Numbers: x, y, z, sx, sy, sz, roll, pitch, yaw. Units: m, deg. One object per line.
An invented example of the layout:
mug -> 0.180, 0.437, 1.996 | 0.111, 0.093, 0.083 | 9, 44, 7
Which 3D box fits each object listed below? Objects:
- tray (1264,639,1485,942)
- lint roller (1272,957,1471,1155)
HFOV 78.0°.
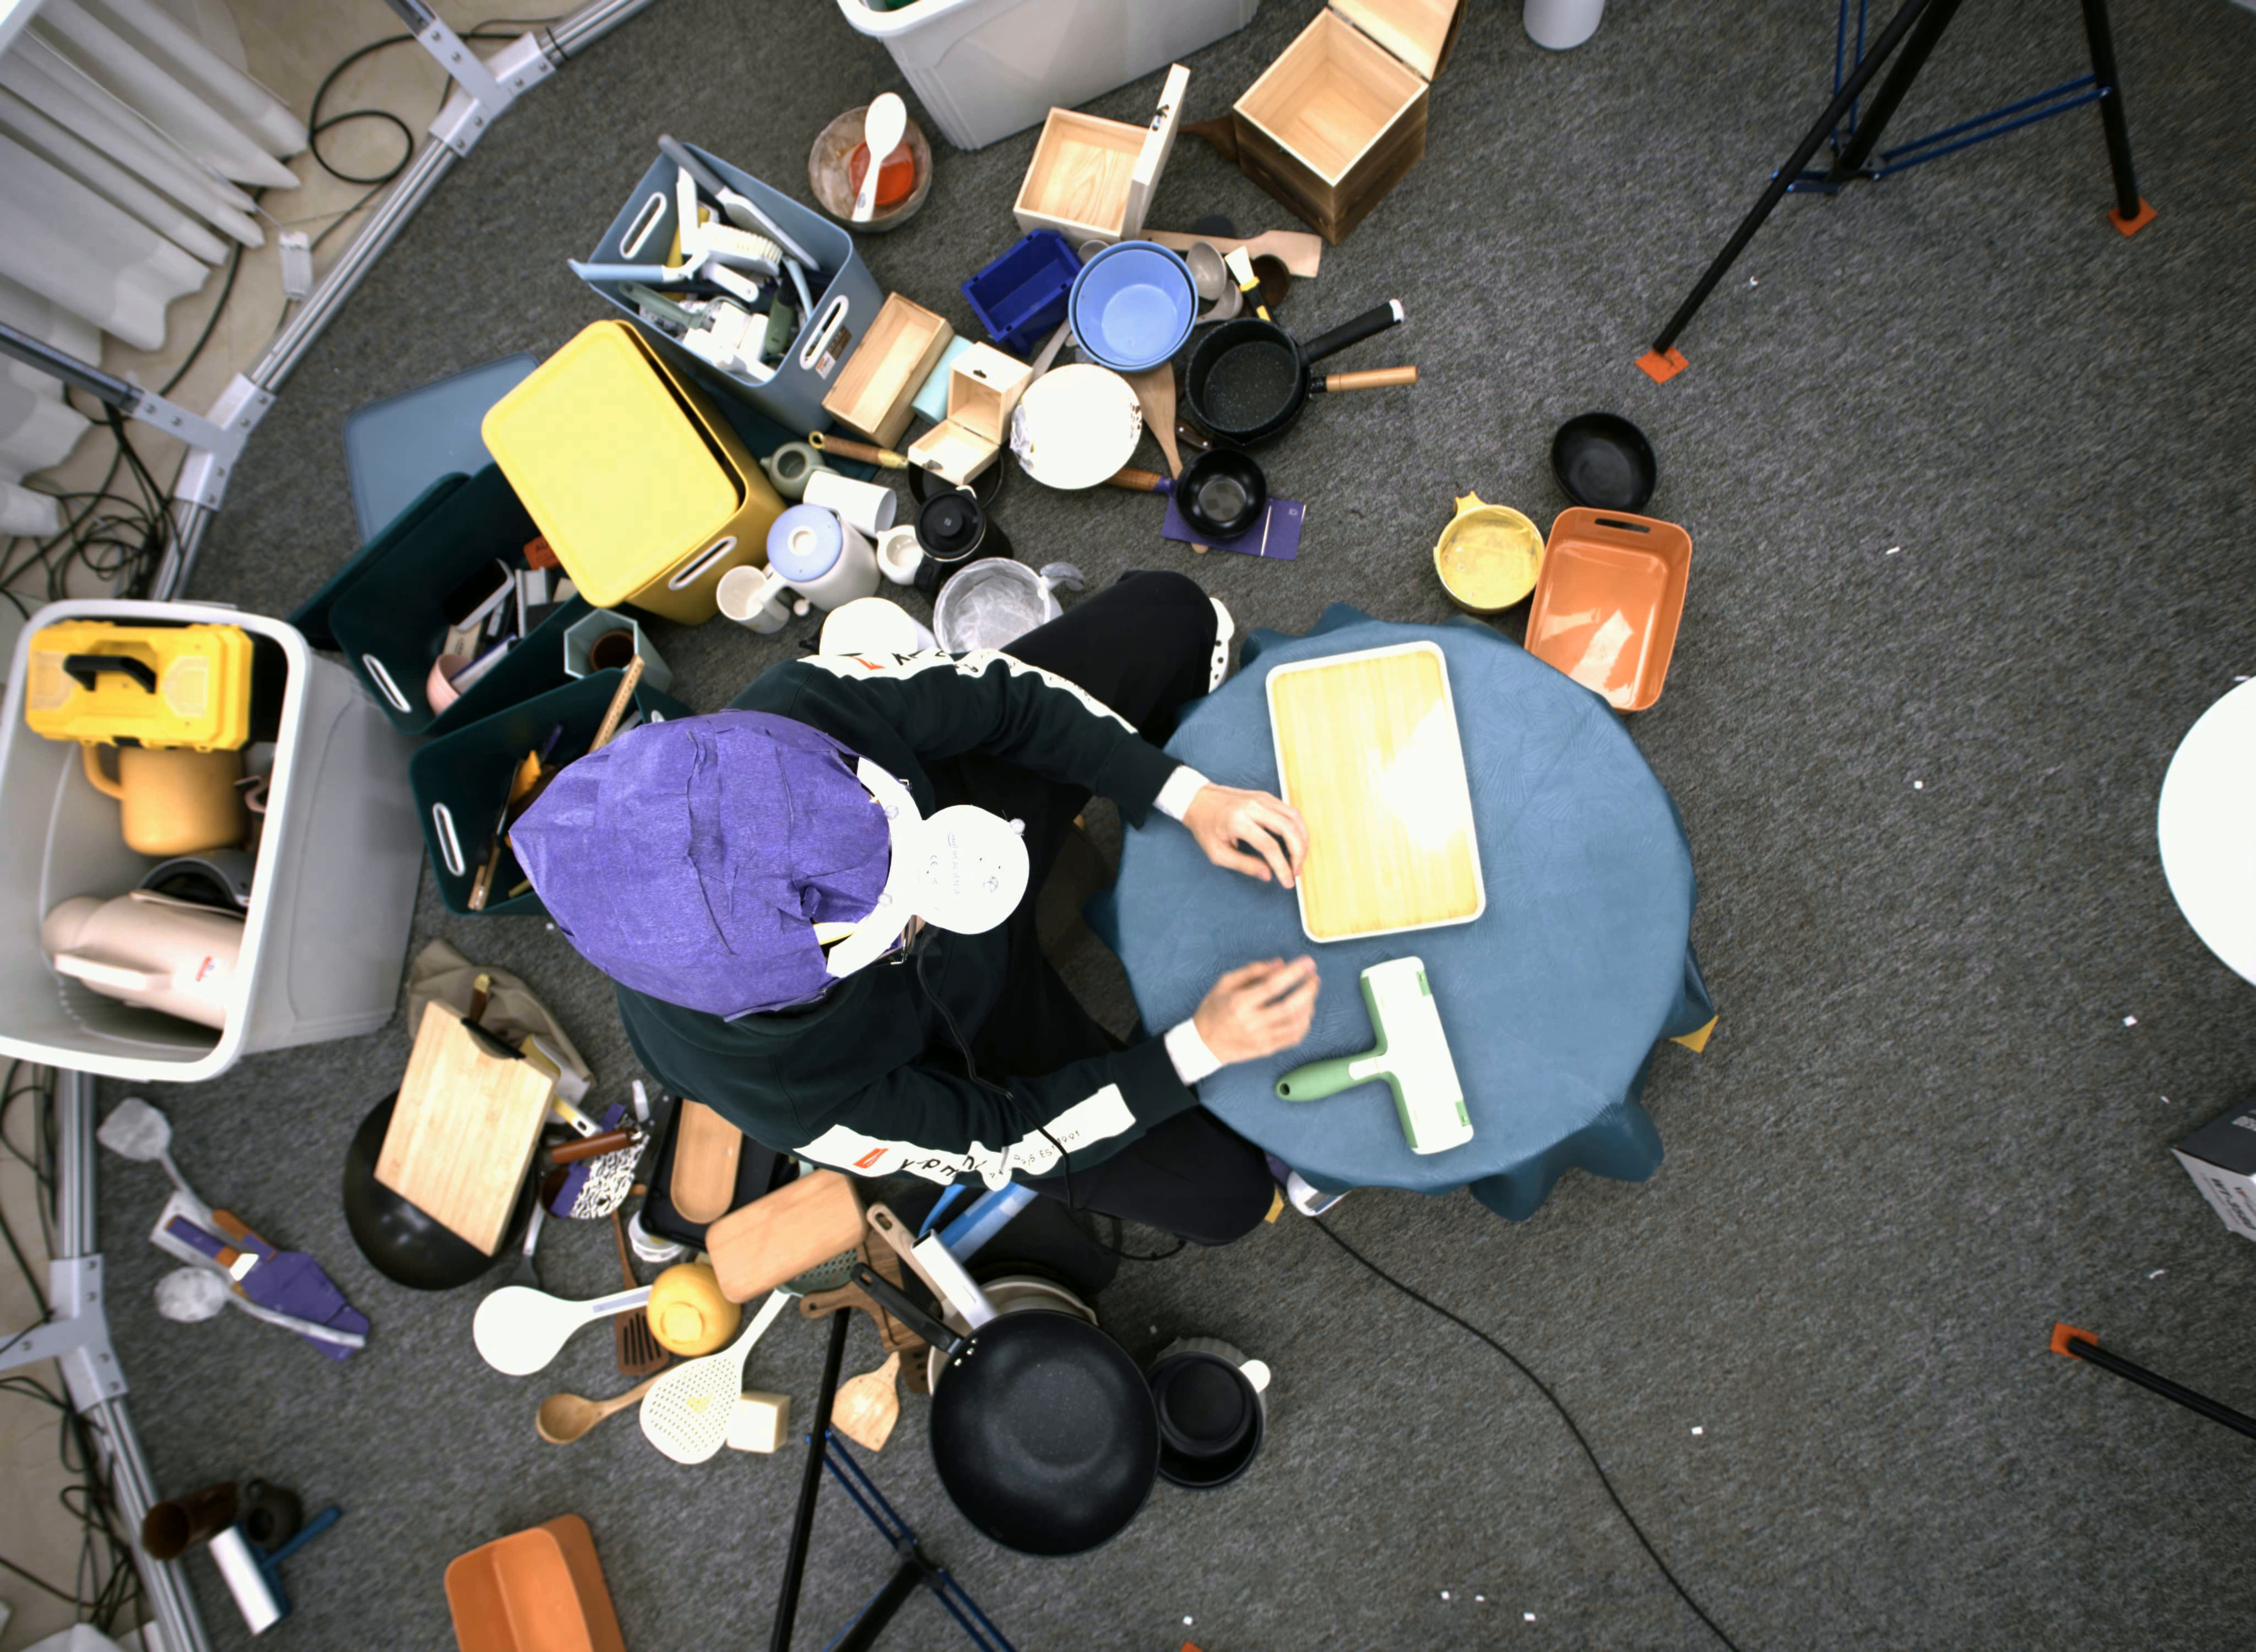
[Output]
tray -> 0.258, -0.038, 1.450 | 0.192, 0.027, 0.299 | -9, 86, 10
lint roller -> 0.237, 0.248, 1.414 | 0.184, 0.082, 0.197 | -16, 84, 5
